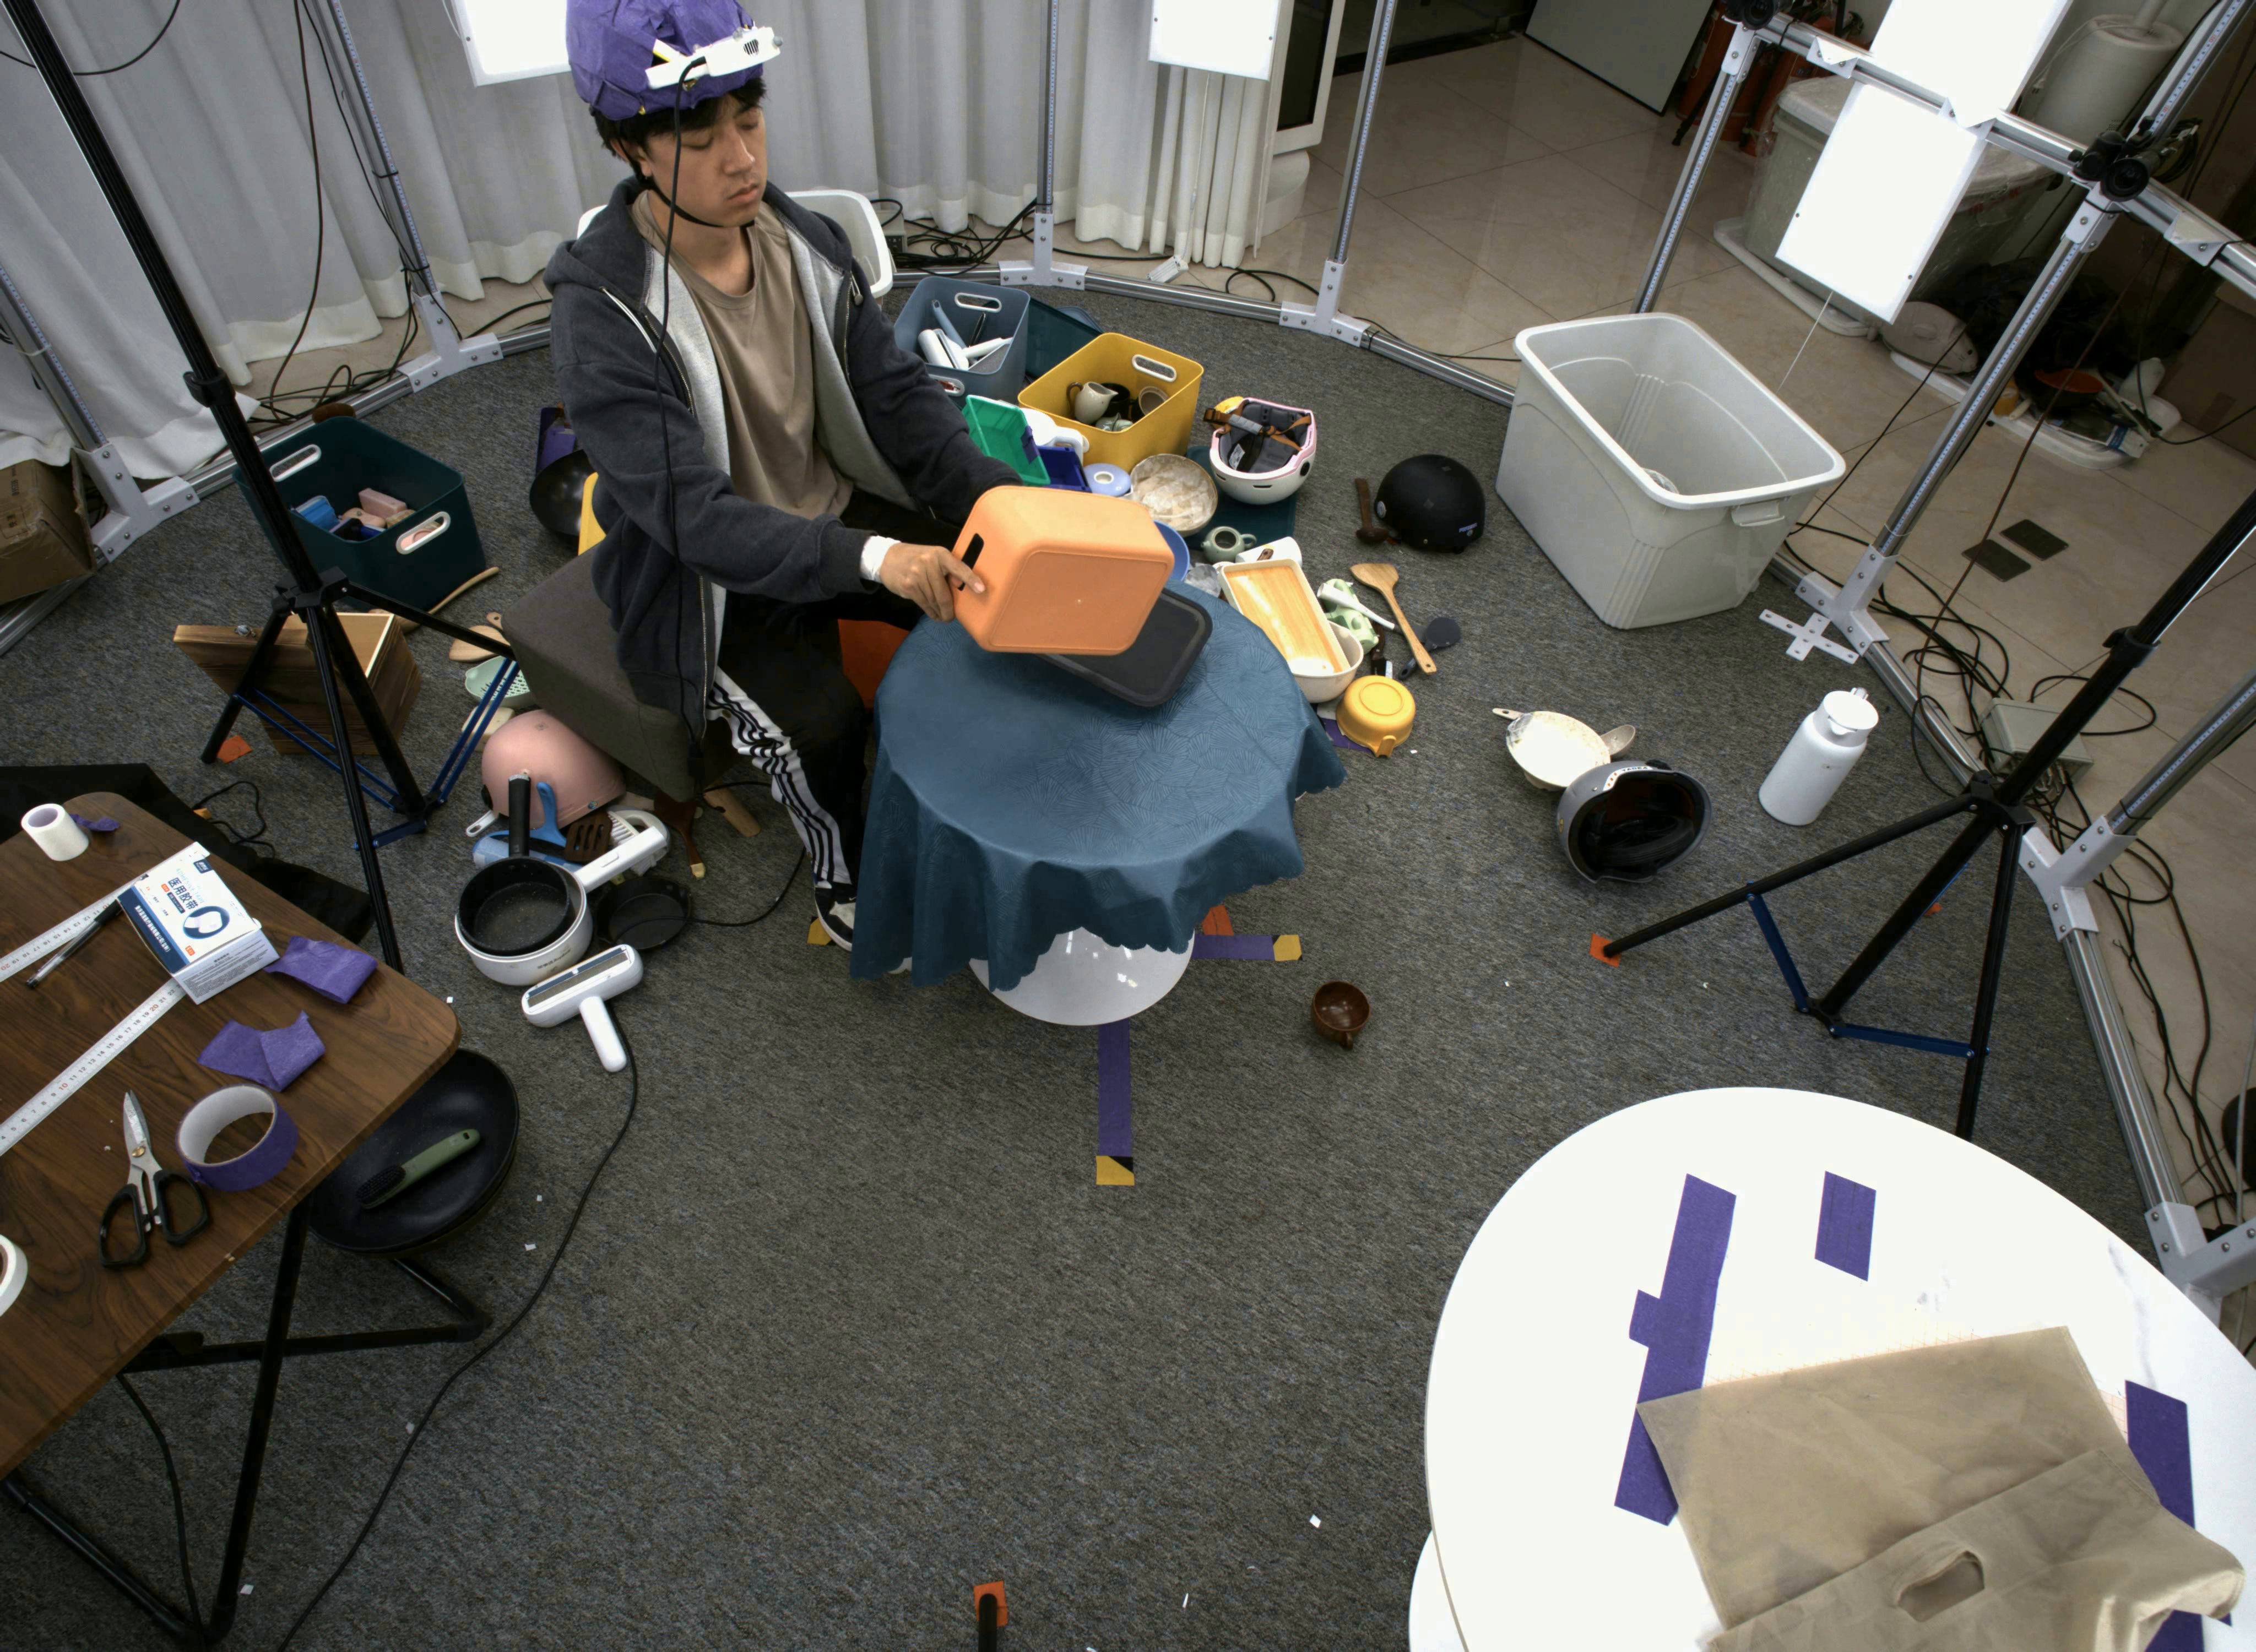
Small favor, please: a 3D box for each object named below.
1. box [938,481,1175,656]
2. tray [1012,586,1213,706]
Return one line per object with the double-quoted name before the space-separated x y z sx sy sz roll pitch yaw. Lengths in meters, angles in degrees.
"box" -0.083 -0.311 1.613 0.272 0.196 0.105 -3 46 -39
"tray" -0.052 -0.299 1.844 0.327 0.009 0.214 26 59 9
